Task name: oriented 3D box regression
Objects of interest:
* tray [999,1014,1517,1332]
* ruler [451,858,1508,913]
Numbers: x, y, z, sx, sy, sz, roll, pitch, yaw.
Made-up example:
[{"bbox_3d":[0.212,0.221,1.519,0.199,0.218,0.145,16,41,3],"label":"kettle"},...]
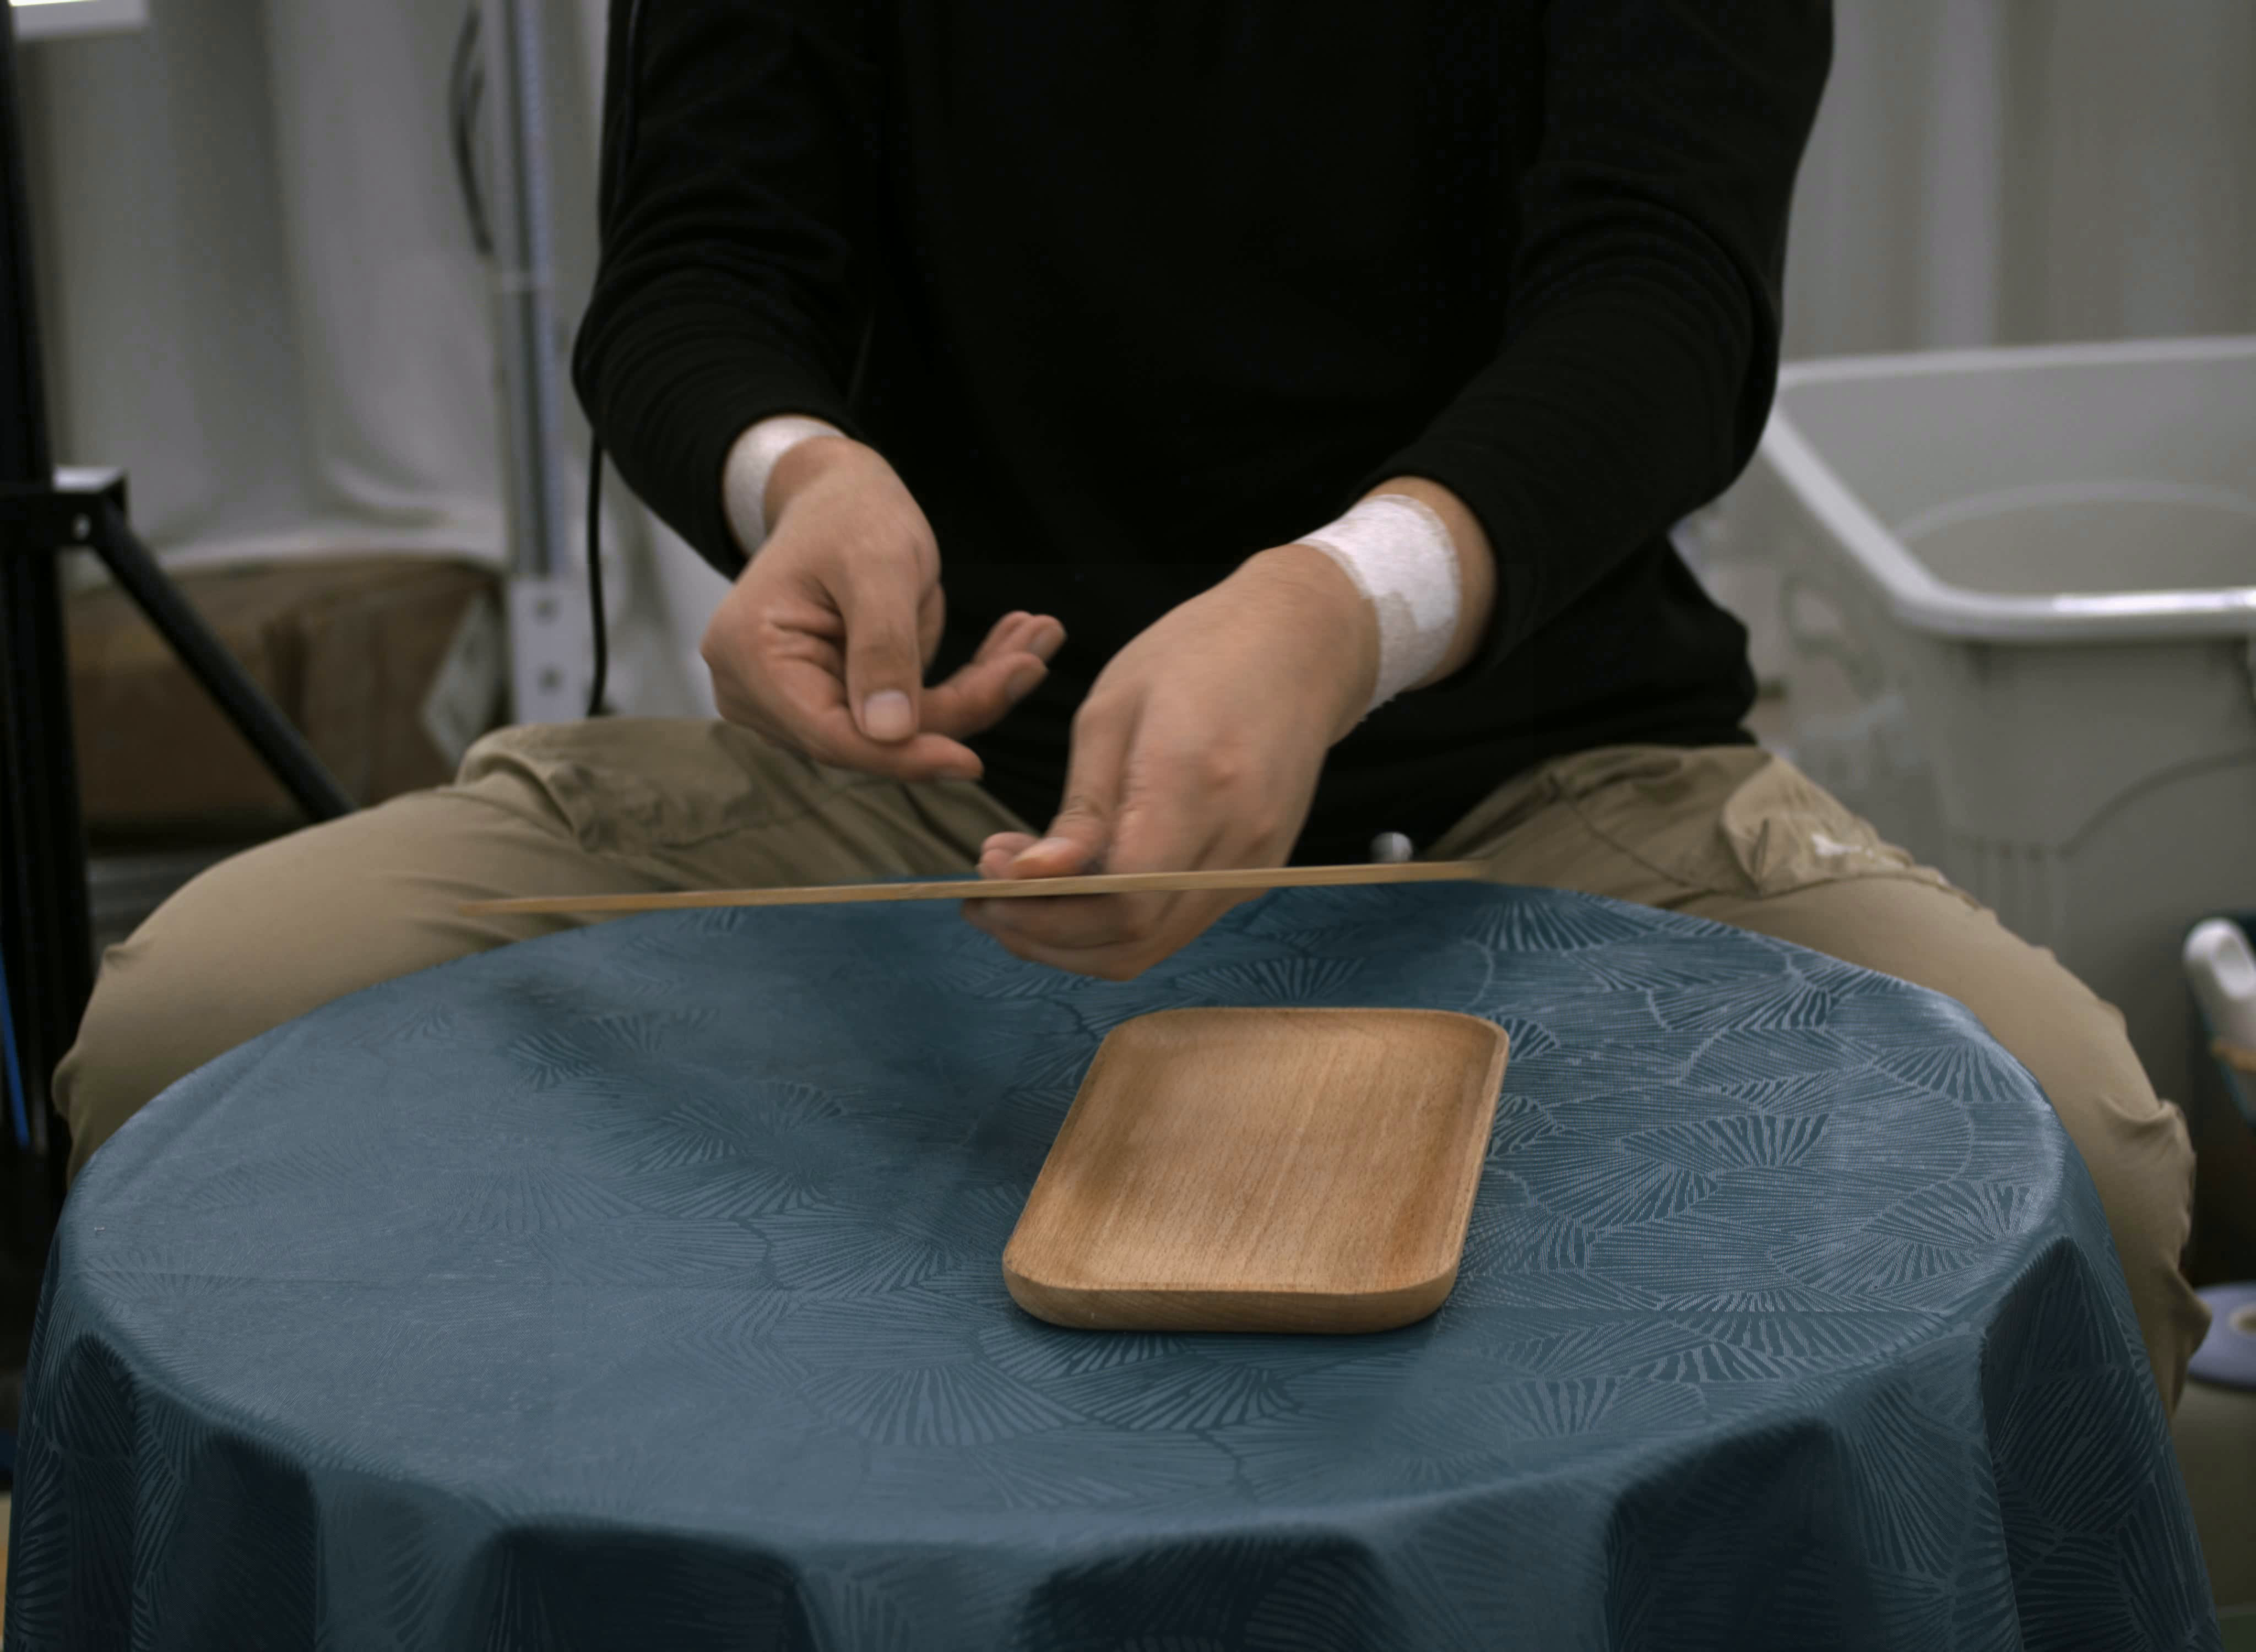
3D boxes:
[{"bbox_3d":[0.043,0.099,1.555,0.131,0.023,0.249,2,15,10],"label":"tray"},{"bbox_3d":[-0.062,0.019,1.579,0.026,0.006,0.511,0,-2,-37],"label":"ruler"}]
